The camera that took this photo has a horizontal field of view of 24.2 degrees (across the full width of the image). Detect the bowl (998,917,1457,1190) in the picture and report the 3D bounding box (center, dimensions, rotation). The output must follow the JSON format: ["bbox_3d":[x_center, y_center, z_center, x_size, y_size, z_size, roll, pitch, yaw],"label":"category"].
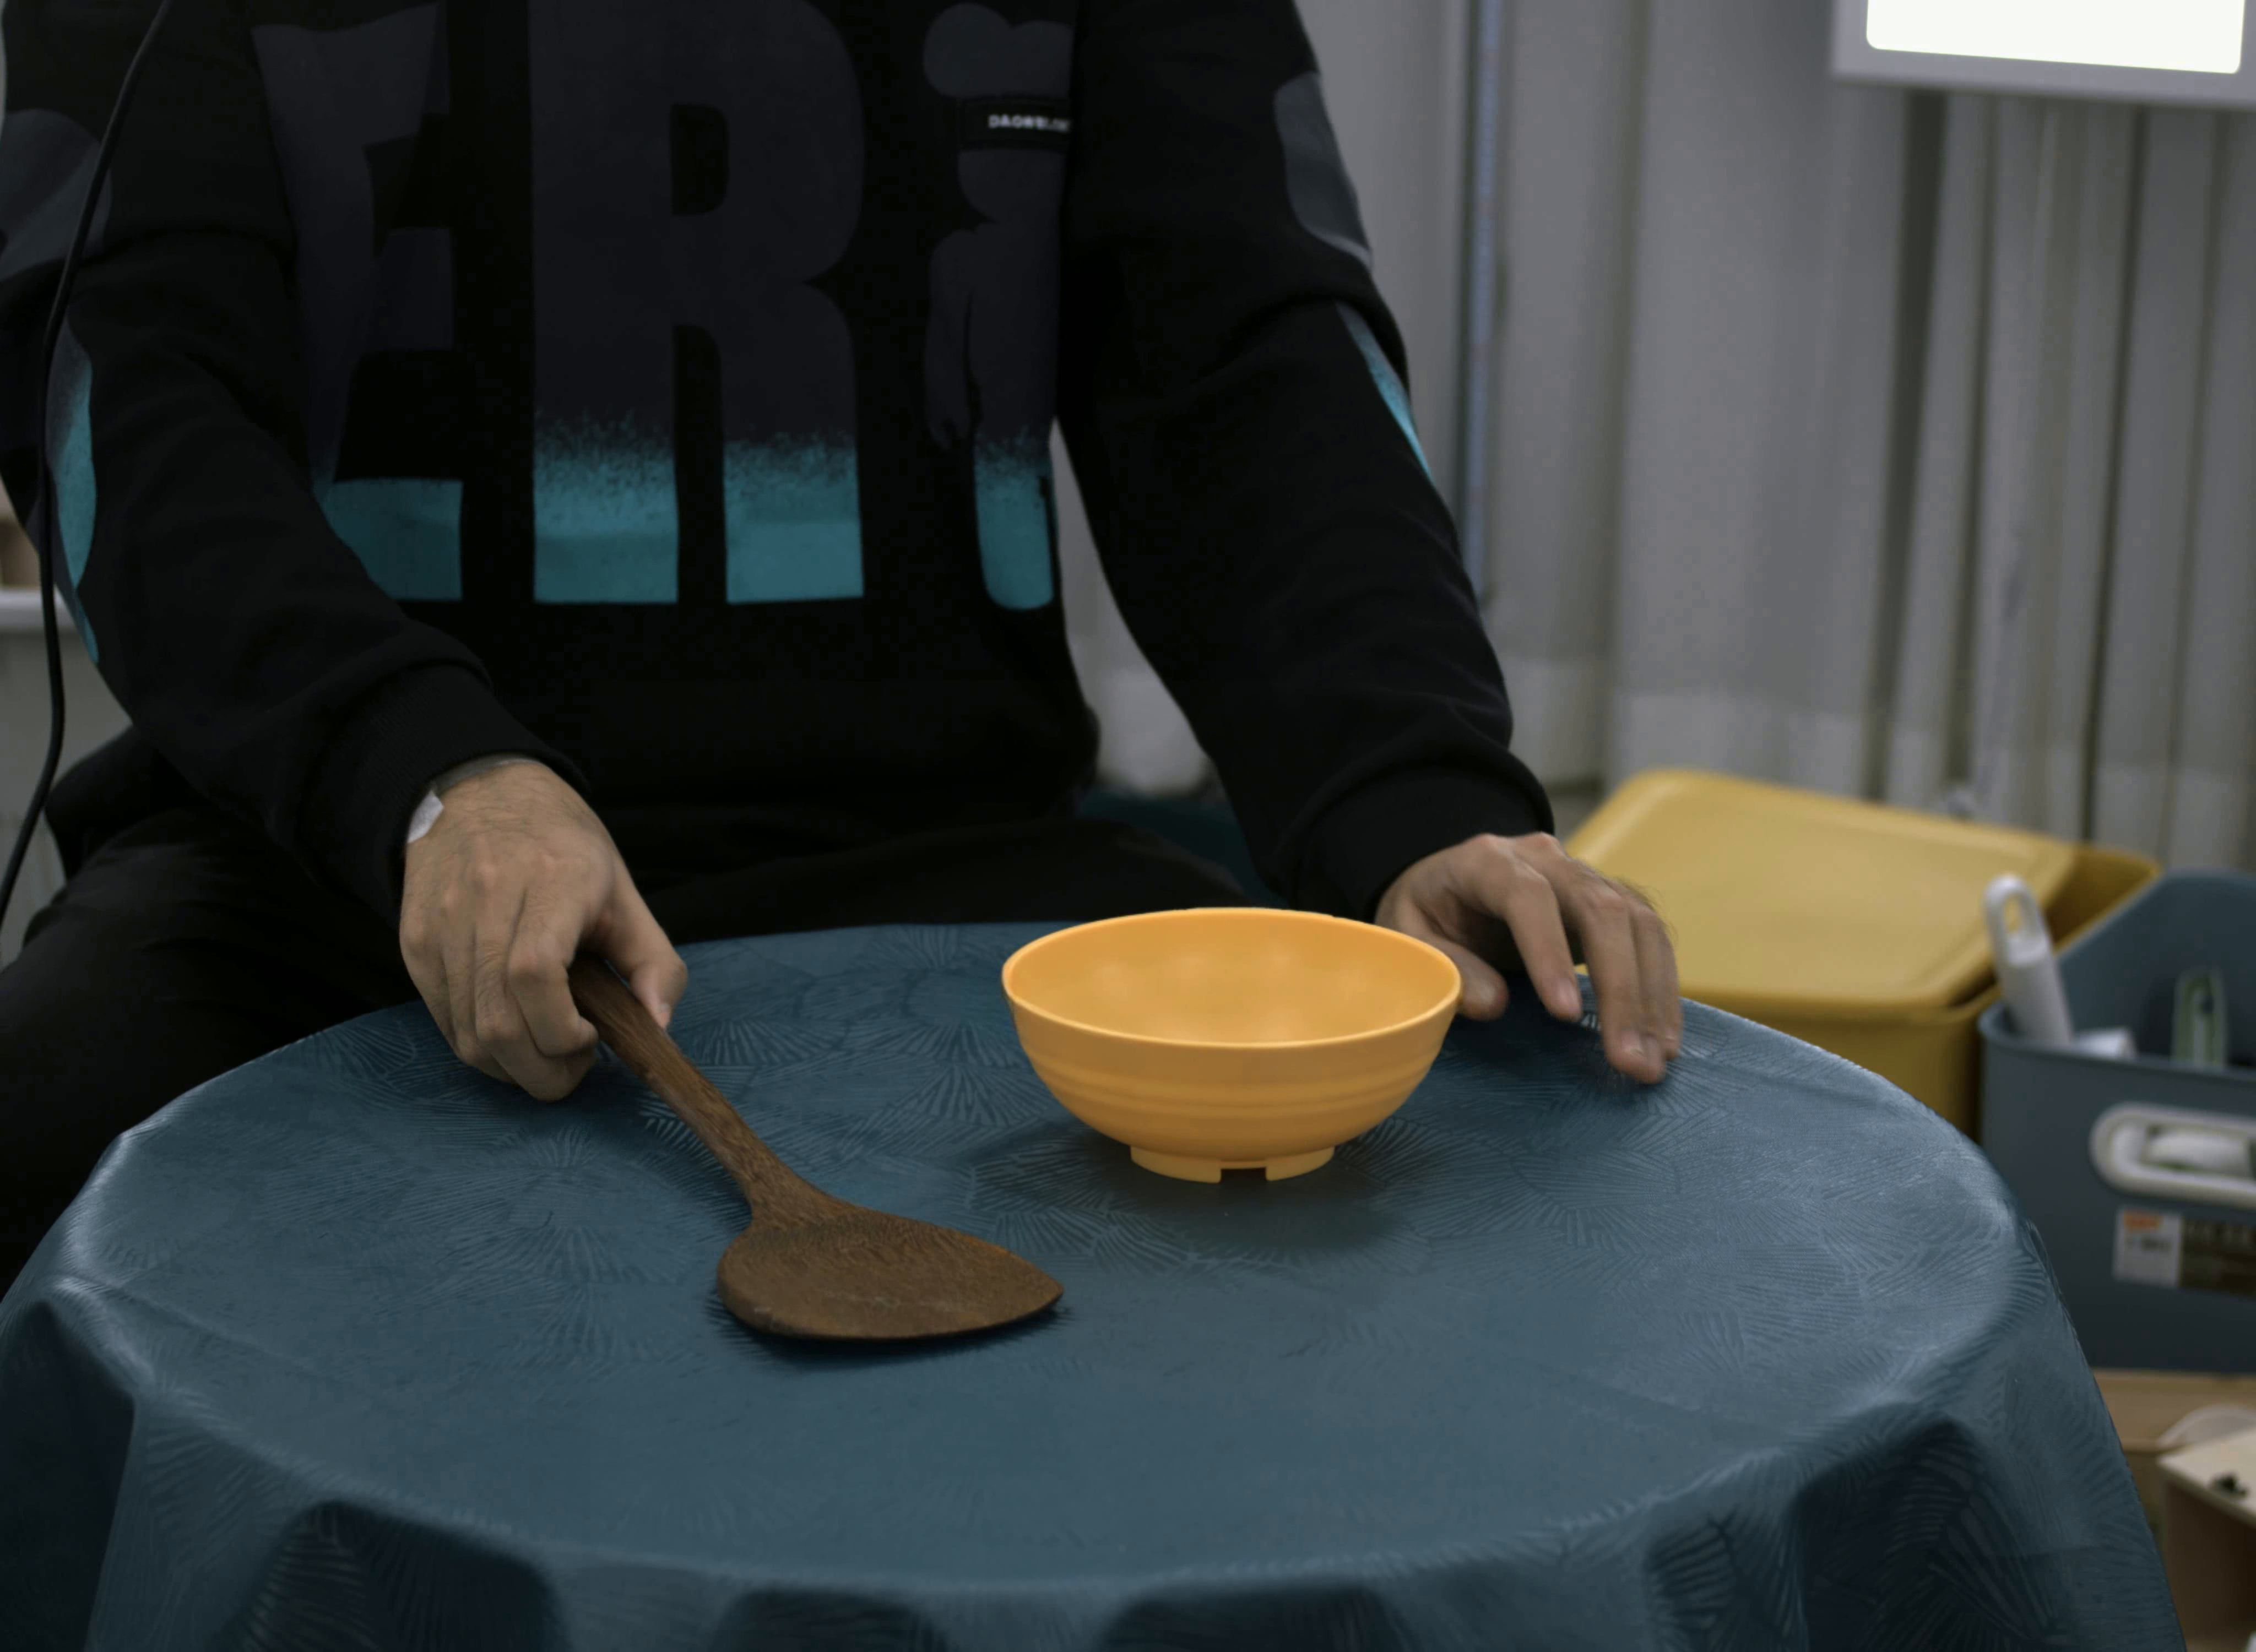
[{"bbox_3d":[0.030,0.076,1.656,0.145,0.060,0.144,3,14,0],"label":"bowl"}]

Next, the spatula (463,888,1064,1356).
[{"bbox_3d":[-0.136,0.085,1.650,0.096,0.016,0.381,-5,22,-26],"label":"spatula"}]
